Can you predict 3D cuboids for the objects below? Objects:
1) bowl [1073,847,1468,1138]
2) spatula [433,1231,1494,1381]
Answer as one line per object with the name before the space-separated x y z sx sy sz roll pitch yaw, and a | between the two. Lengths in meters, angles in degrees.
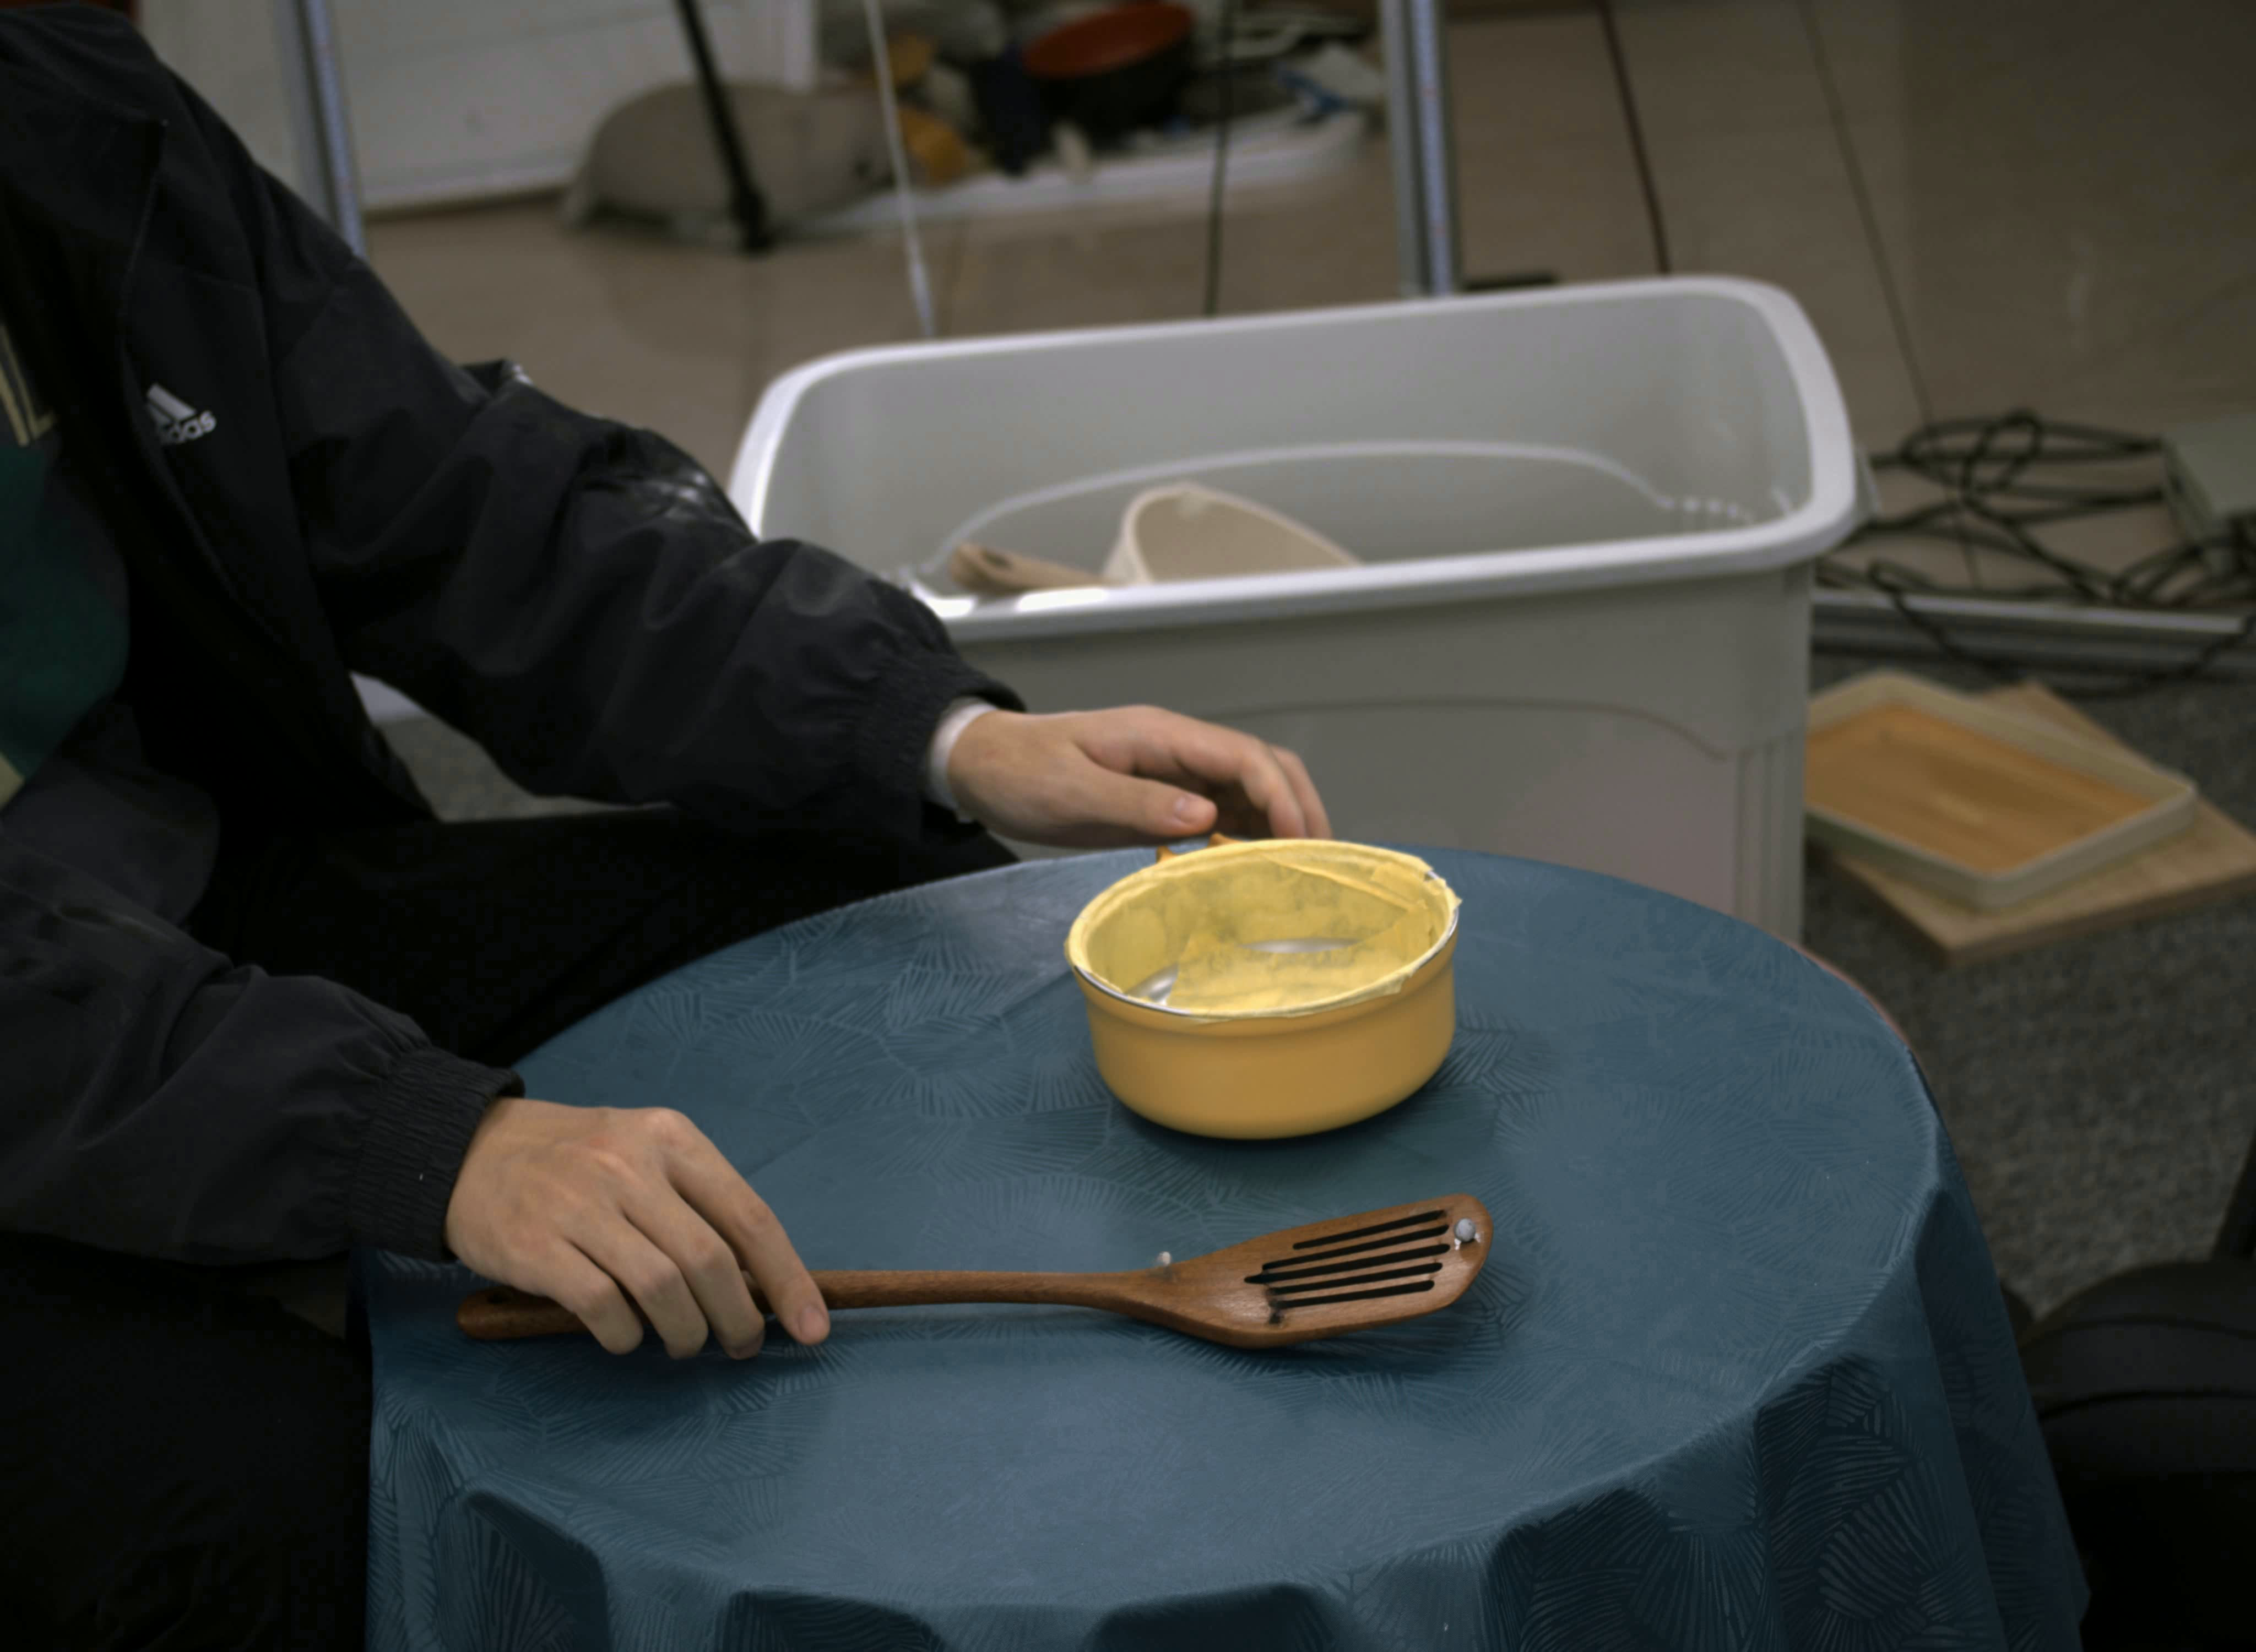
bowl | 0.053 0.063 2.221 0.152 0.075 0.177 -14 26 -18
spatula | -0.060 0.181 2.061 0.386 0.024 0.084 -4 16 0
